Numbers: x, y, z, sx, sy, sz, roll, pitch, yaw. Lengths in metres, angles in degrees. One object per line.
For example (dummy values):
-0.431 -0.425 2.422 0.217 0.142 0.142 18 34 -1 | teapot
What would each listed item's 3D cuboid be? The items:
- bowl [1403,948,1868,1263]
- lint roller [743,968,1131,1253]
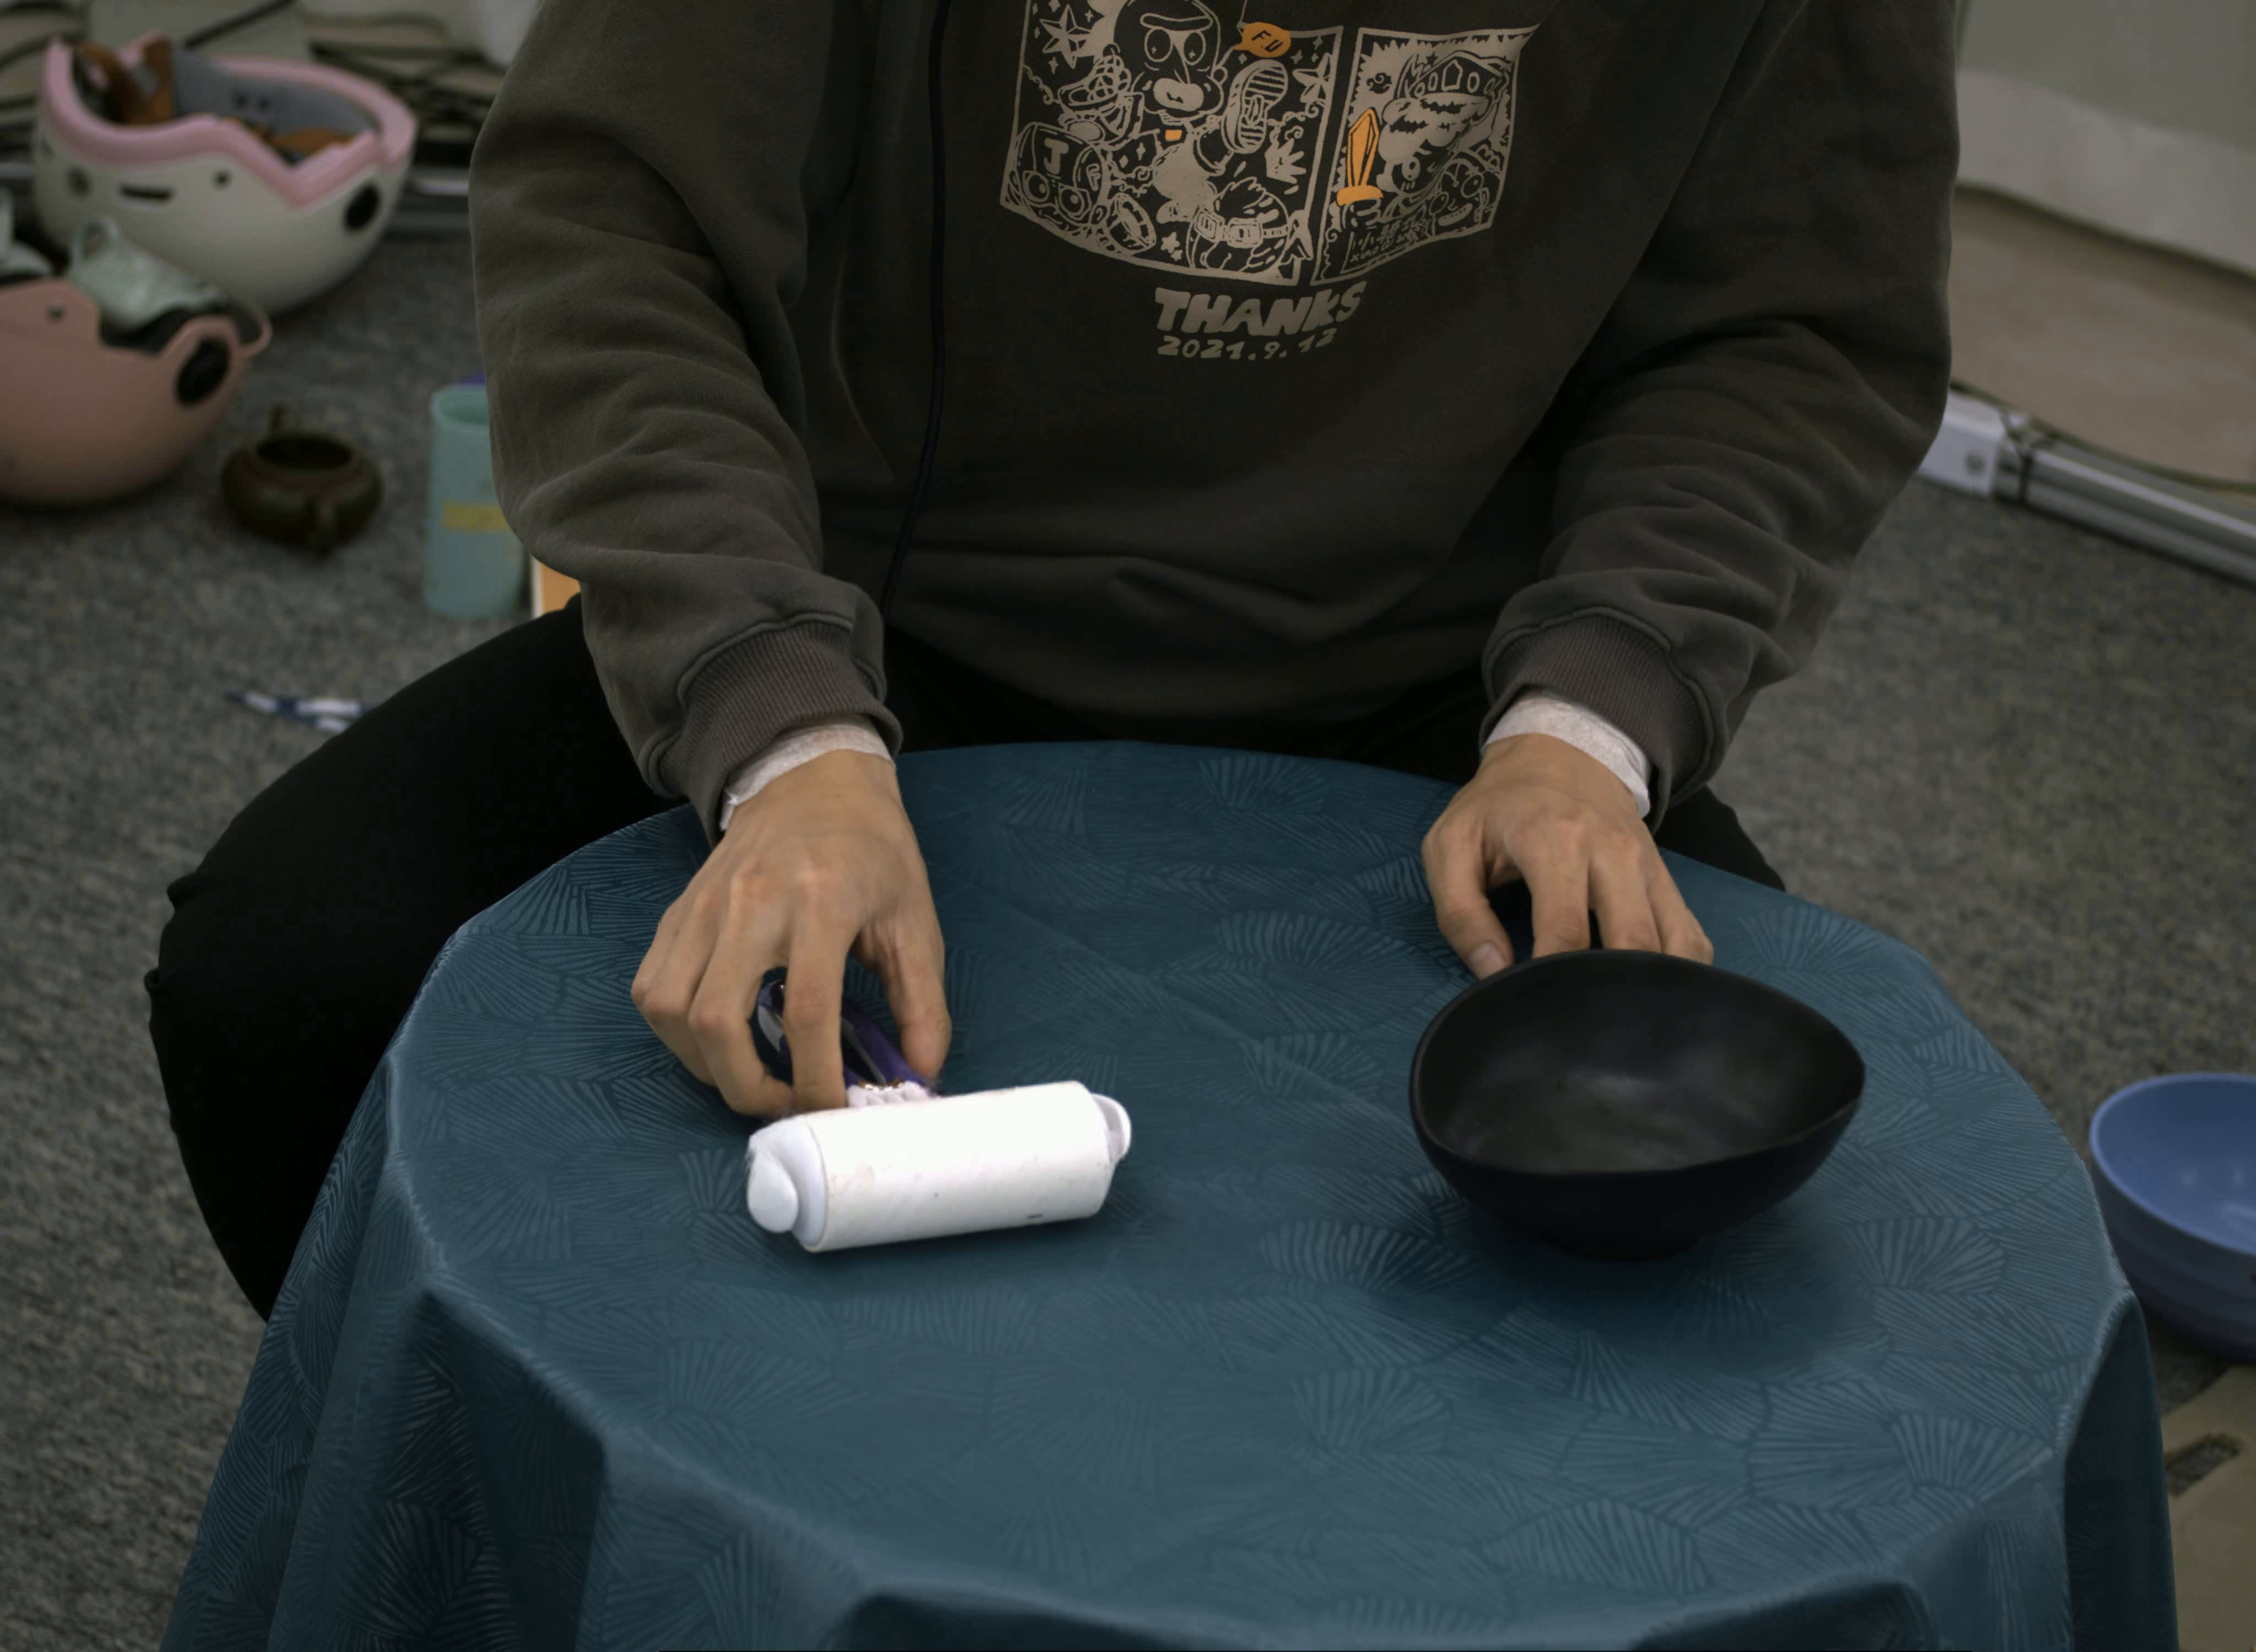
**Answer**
0.171 0.105 1.810 0.169 0.066 0.138 -16 33 -34 | bowl
-0.084 0.082 1.815 0.132 0.050 0.182 -5 31 -21 | lint roller
